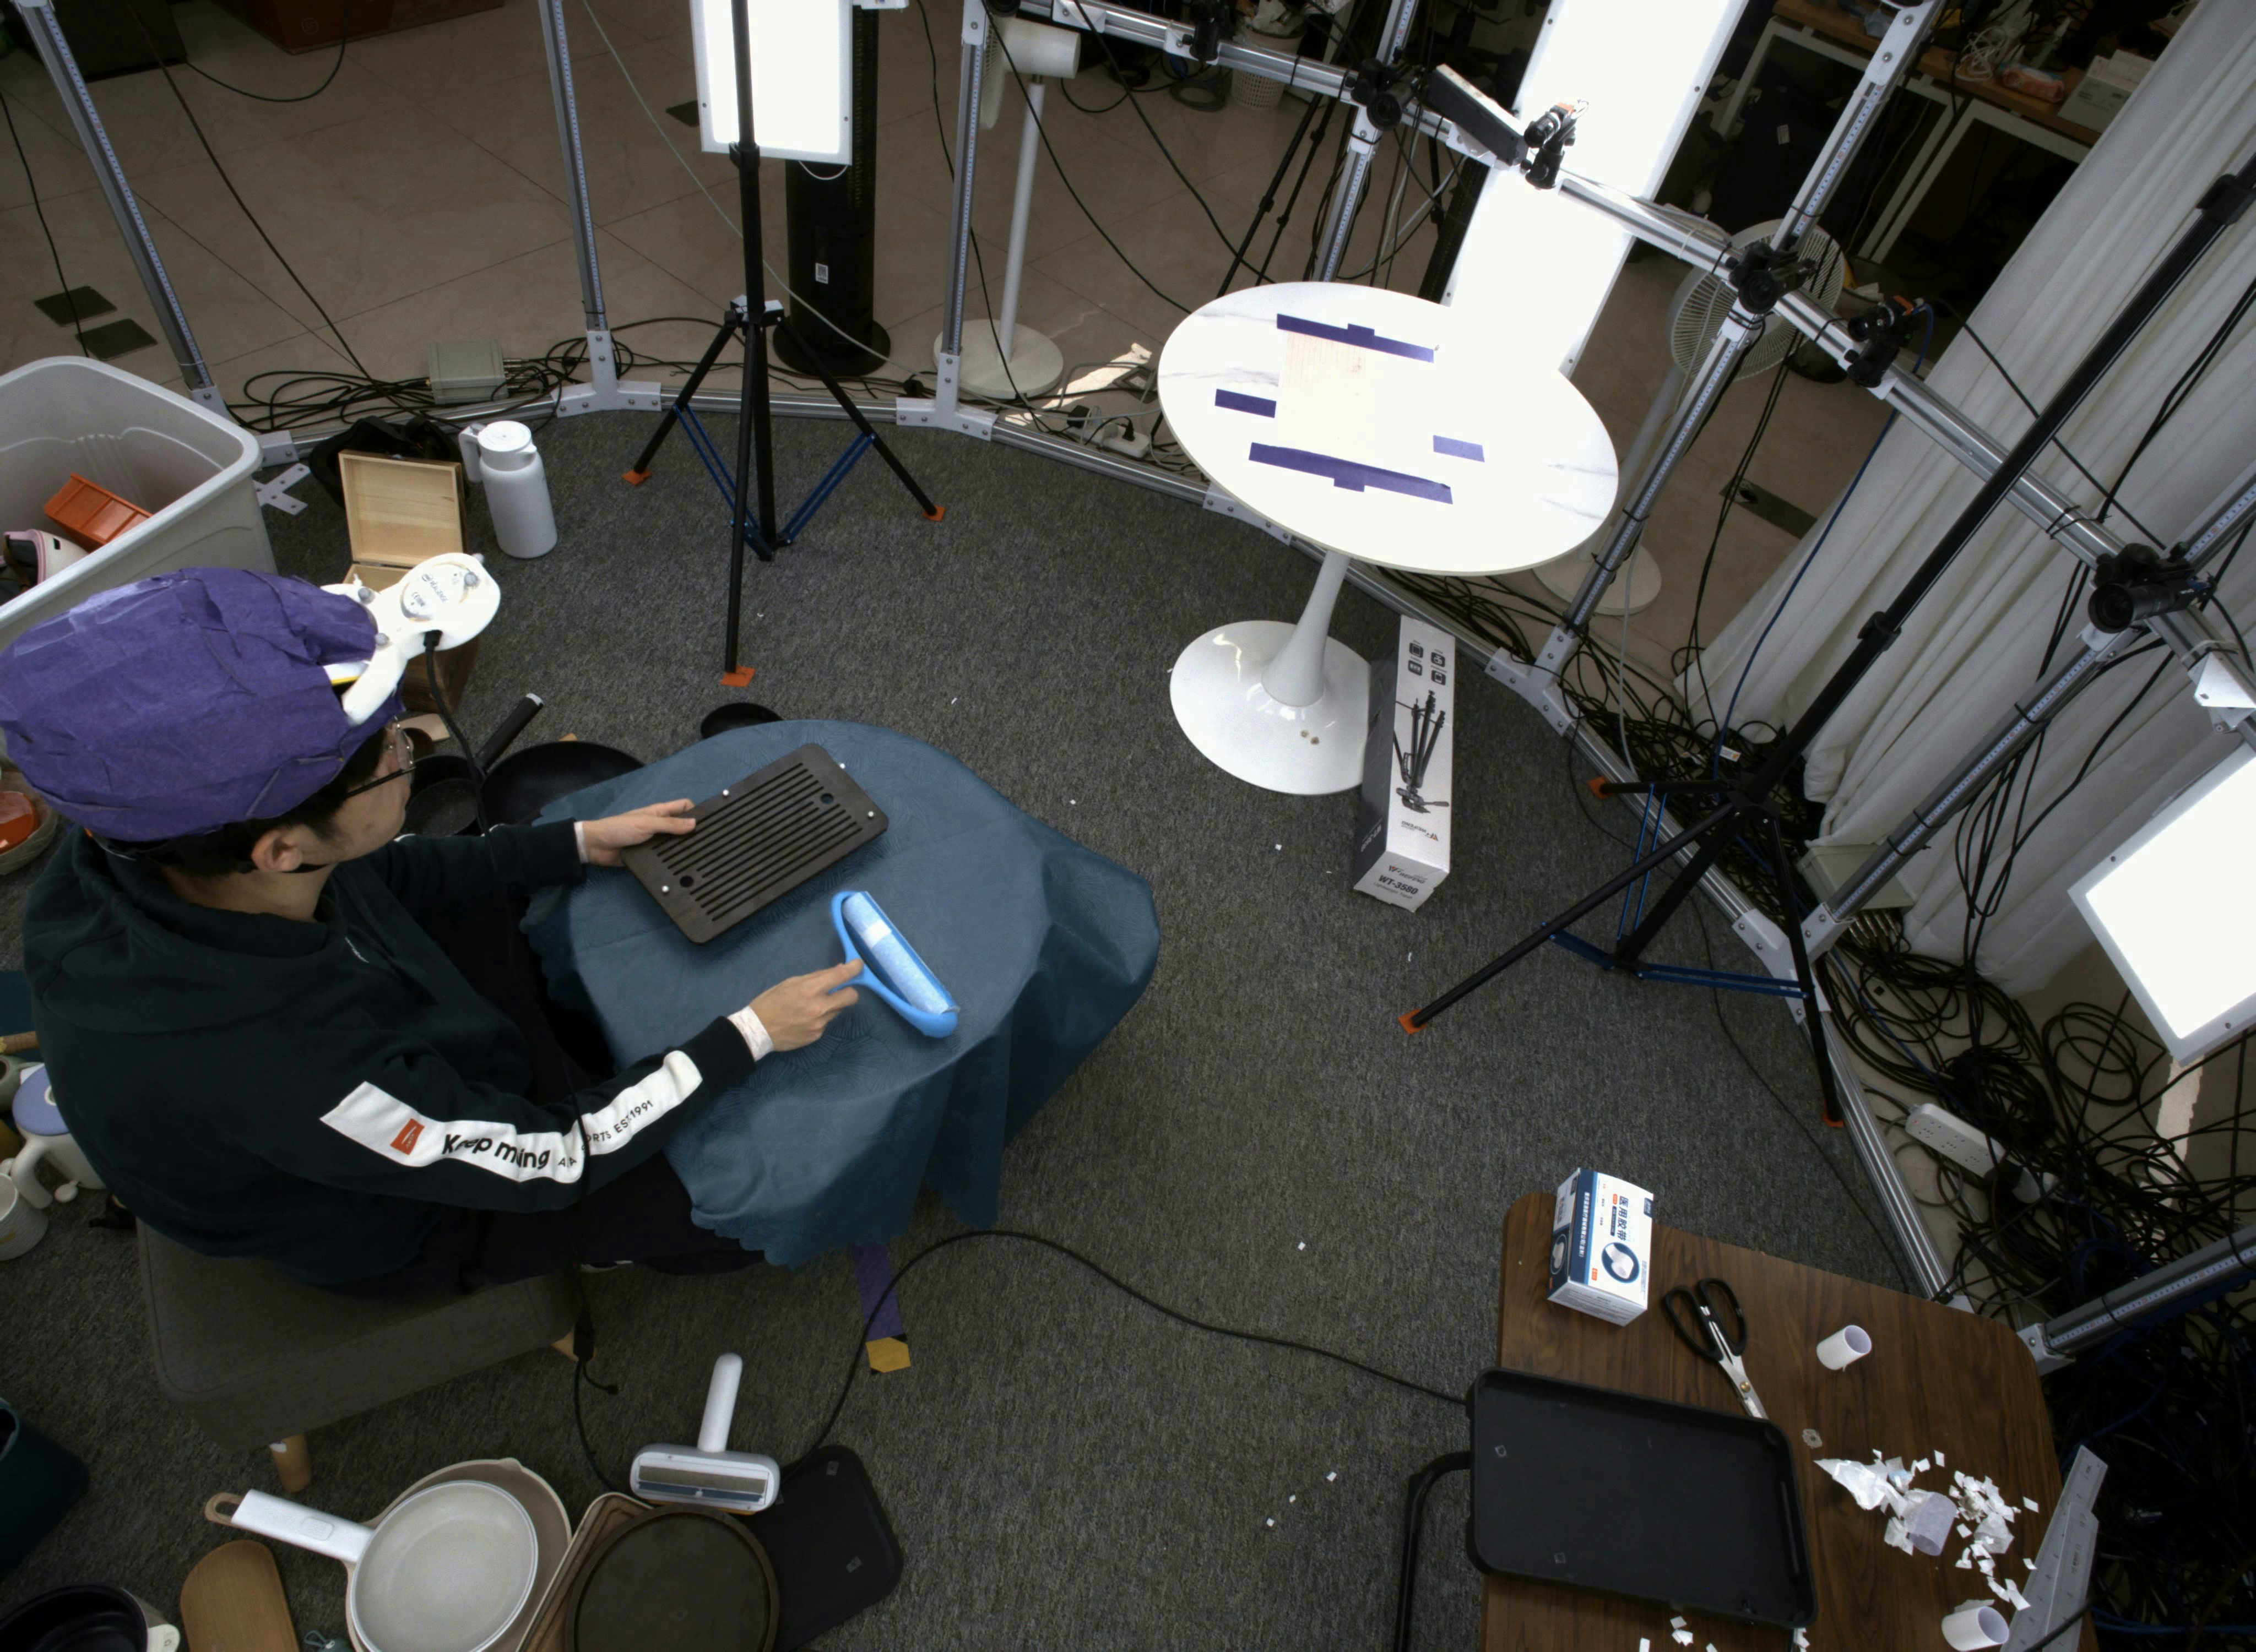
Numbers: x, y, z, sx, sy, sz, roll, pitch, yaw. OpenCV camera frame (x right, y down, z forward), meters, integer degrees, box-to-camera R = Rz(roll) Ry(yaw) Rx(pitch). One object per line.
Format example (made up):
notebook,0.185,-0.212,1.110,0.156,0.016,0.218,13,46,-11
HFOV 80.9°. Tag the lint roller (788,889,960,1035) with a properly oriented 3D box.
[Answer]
lint roller,-0.325,0.186,1.555,0.181,0.069,0.225,-32,72,-37

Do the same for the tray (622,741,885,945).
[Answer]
tray,-0.476,0.015,1.654,0.167,0.019,0.306,44,56,13
